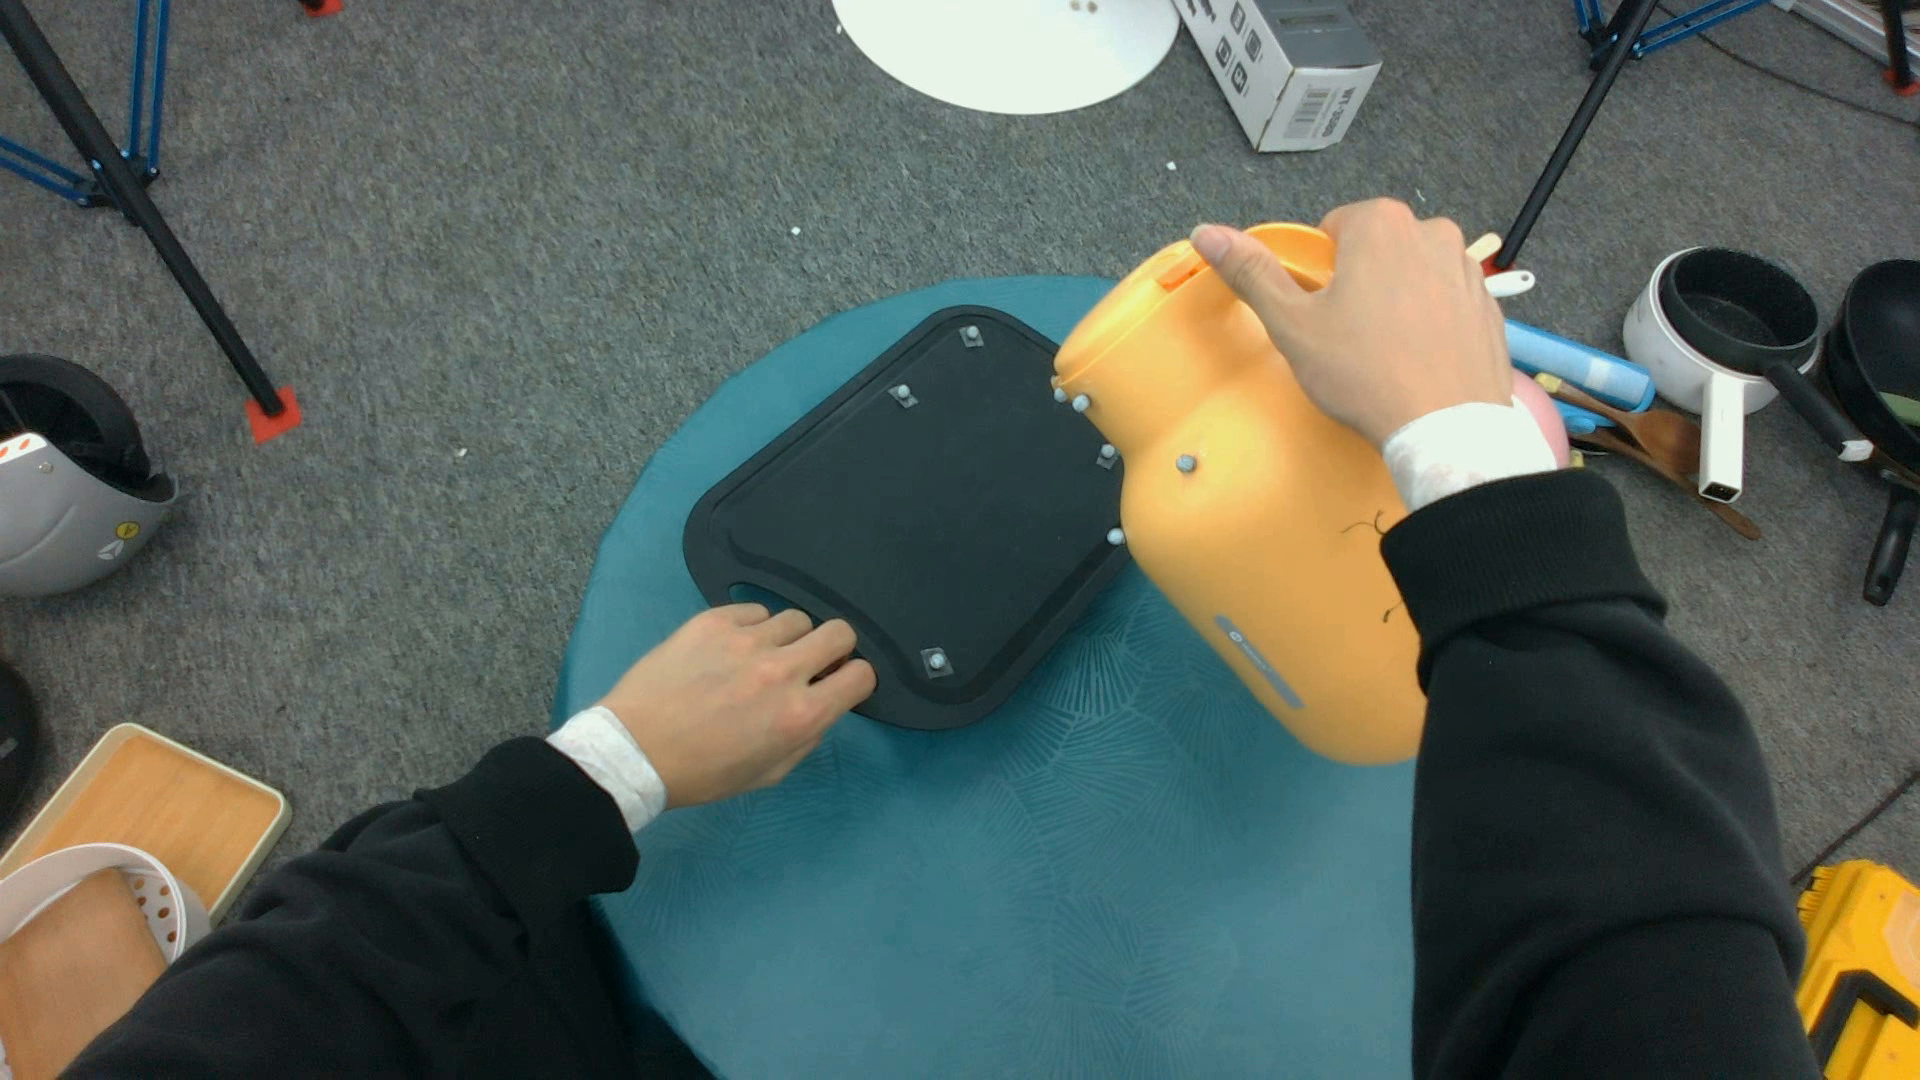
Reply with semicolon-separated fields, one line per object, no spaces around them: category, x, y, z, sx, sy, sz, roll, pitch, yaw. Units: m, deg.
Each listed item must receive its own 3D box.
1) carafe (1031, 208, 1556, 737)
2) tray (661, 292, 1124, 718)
carafe;0.160;-0.040;0.658;0.260;0.201;0.164;43;64;-8
tray;-0.016;-0.033;0.811;0.211;0.010;0.327;35;51;14
